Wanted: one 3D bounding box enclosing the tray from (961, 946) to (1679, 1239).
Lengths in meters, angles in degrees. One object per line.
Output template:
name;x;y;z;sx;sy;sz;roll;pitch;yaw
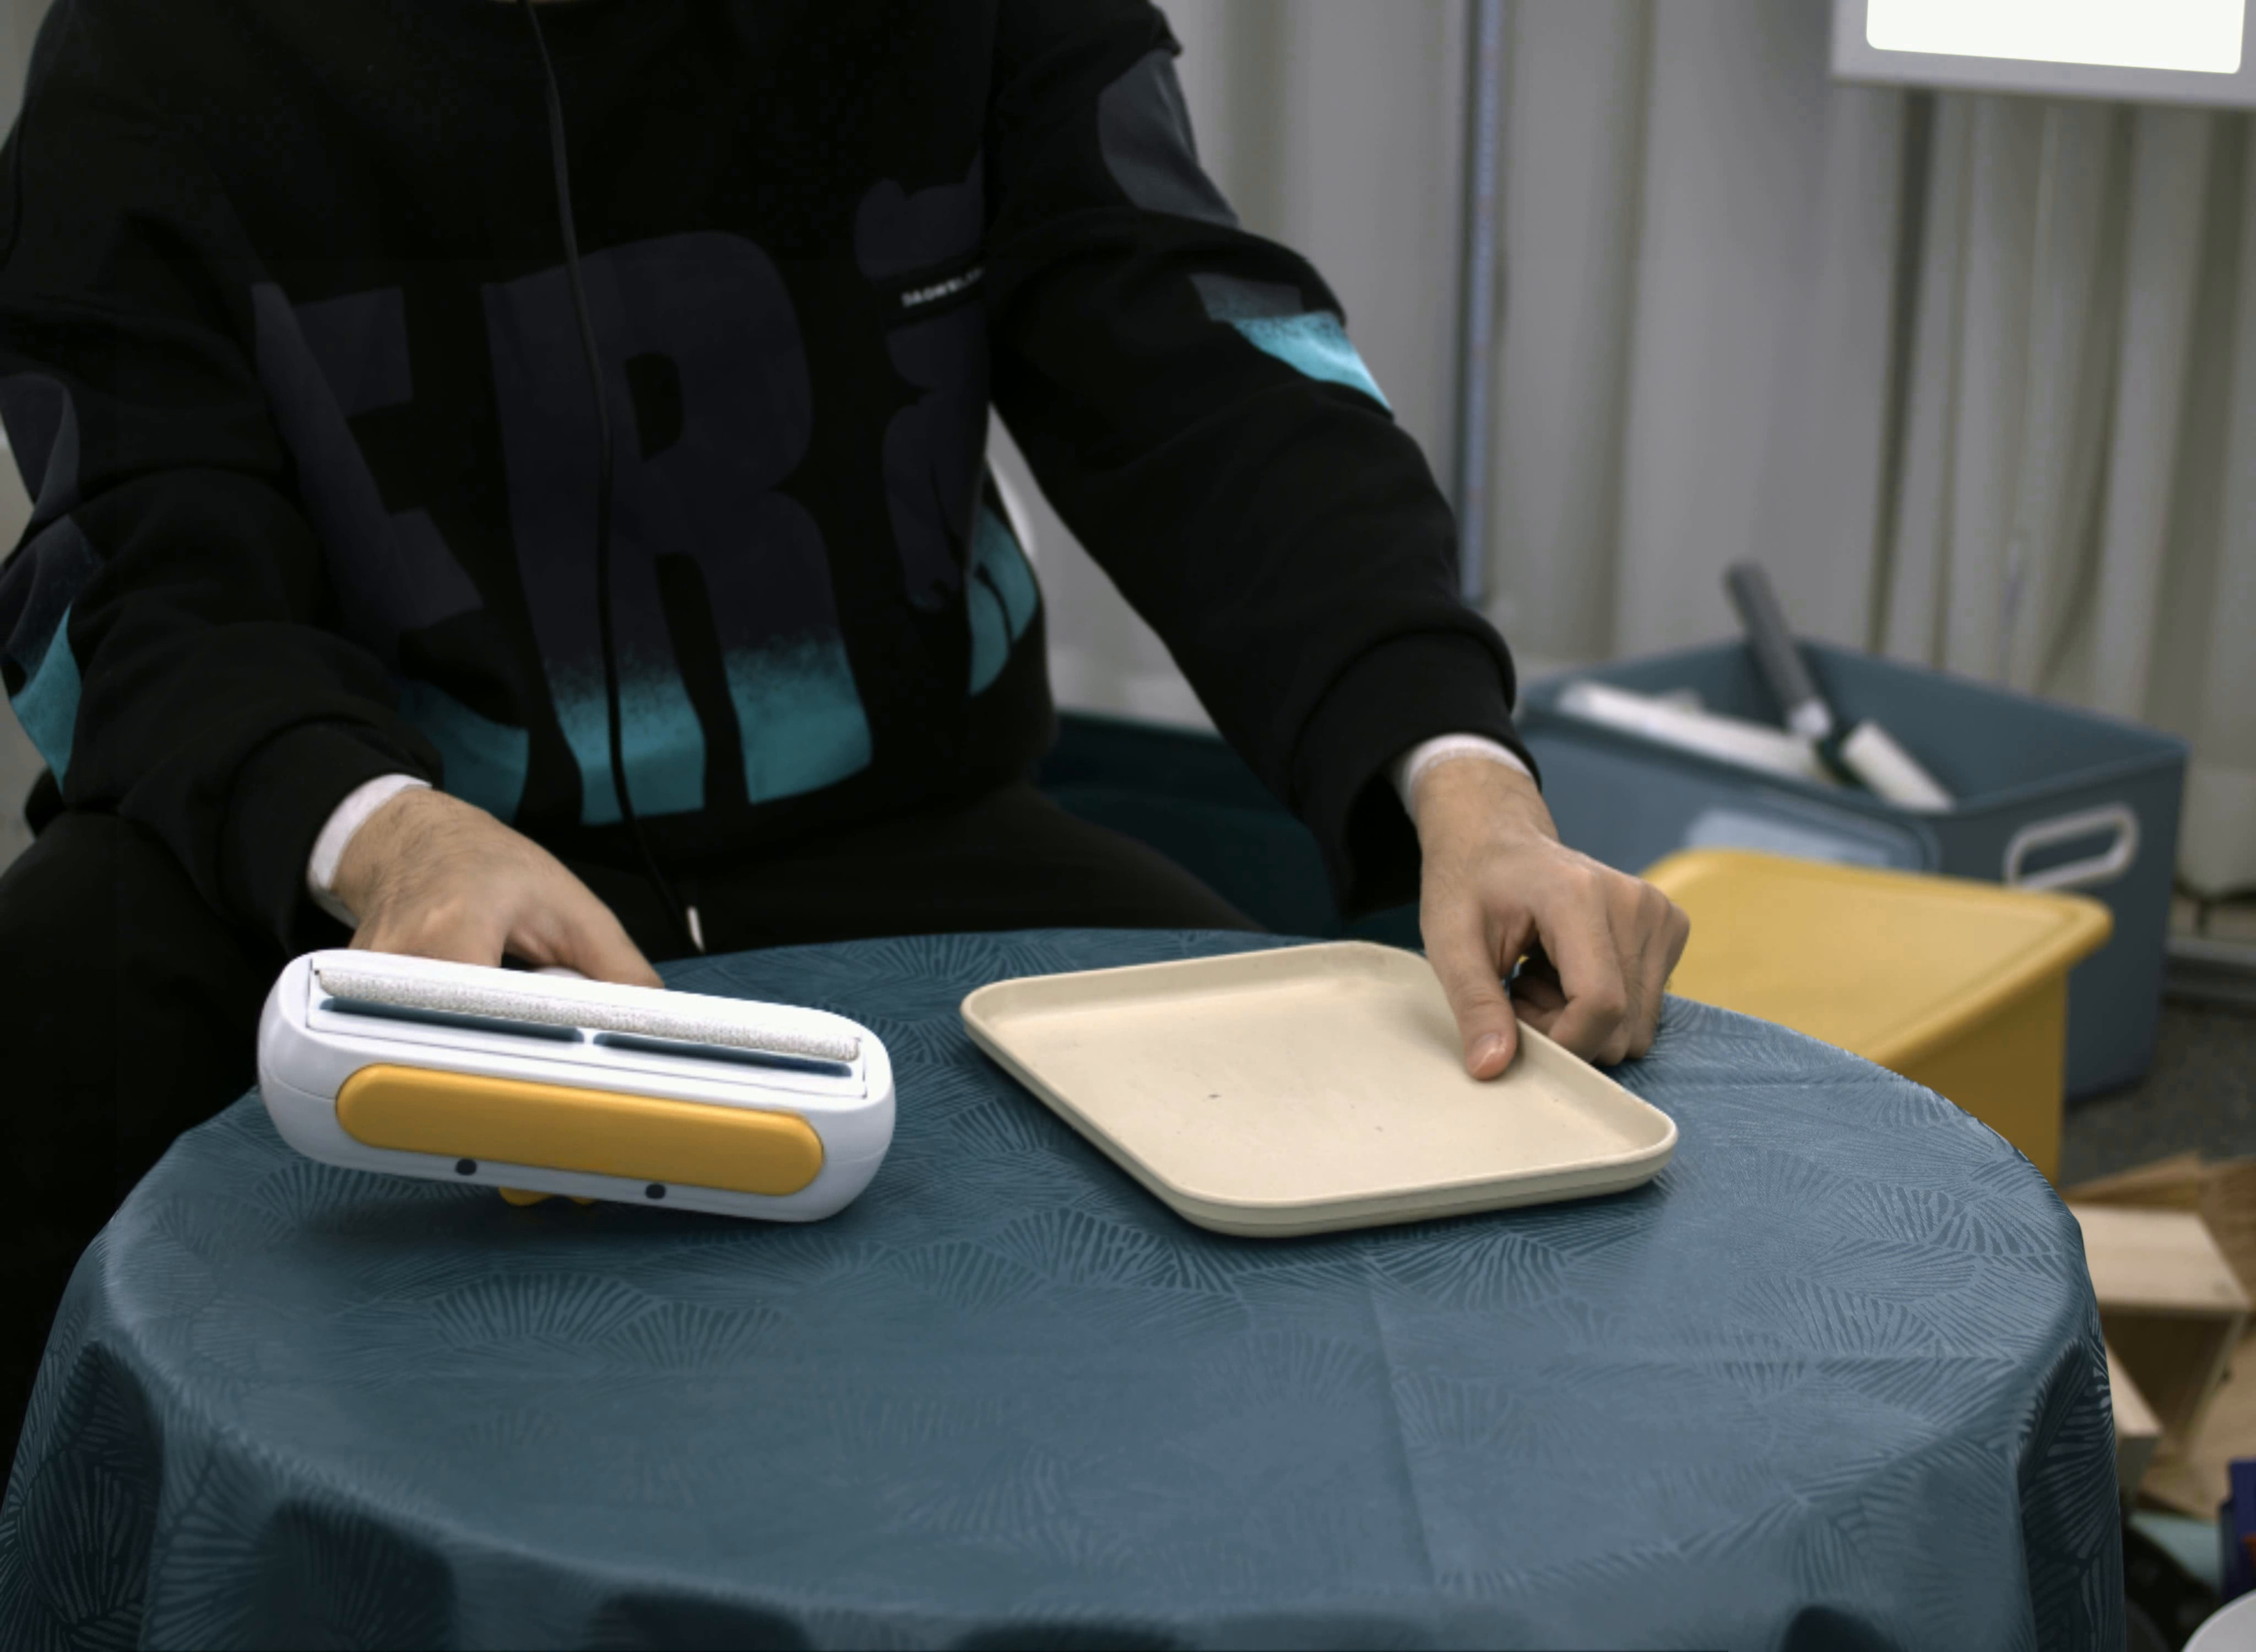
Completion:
tray;0.058;0.084;1.691;0.172;0.017;0.237;-6;17;-21

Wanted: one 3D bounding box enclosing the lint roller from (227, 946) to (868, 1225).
lint roller;-0.179;0.066;1.639;0.193;0.075;0.191;4;18;-6
